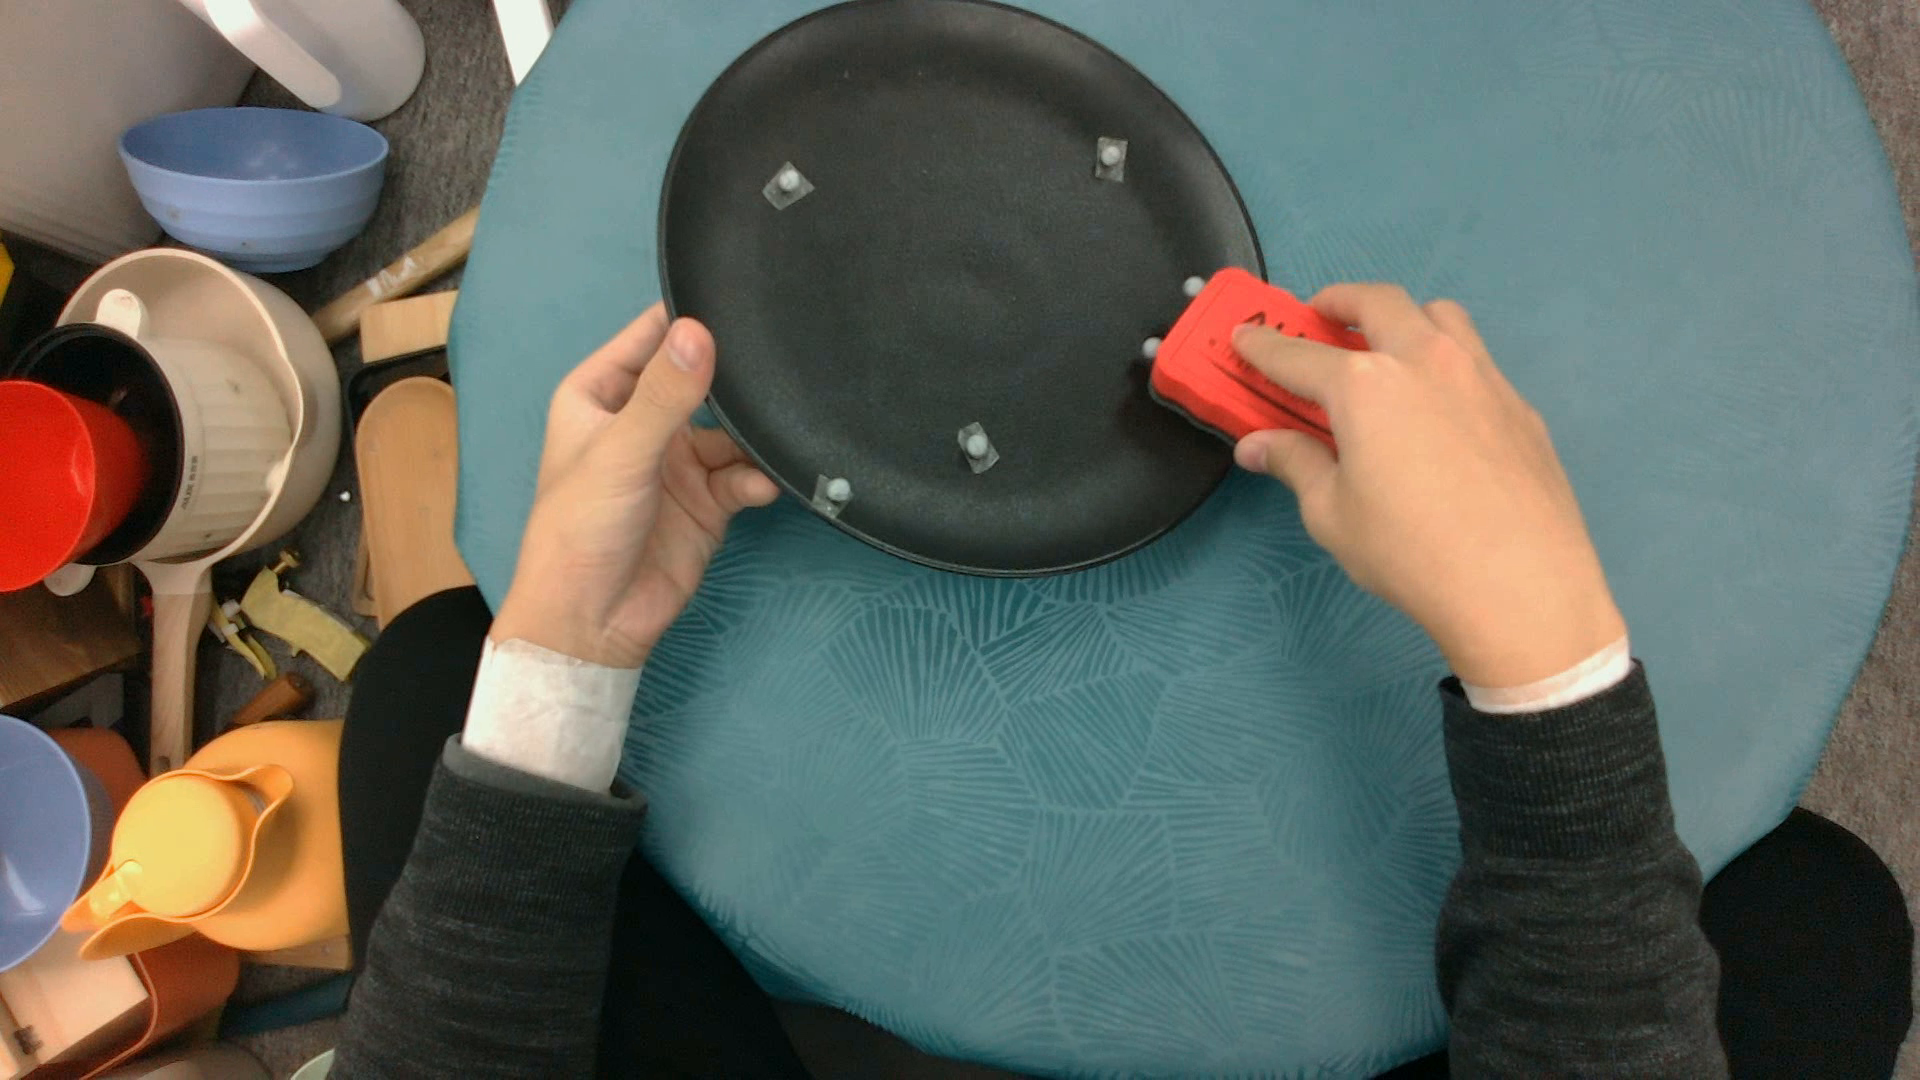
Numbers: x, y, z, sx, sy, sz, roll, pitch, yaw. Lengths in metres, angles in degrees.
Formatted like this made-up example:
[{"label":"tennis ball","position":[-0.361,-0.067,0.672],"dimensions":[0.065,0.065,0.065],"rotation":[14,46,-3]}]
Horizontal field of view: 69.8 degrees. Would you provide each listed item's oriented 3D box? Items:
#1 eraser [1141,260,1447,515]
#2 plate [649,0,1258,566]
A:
[{"label":"eraser","position":[0.127,-0.060,0.530],"dimensions":[0.108,0.023,0.059],"rotation":[33,71,13]},{"label":"plate","position":[0.003,-0.104,0.532],"dimensions":[0.245,0.023,0.245],"rotation":[5,71,-16]}]
